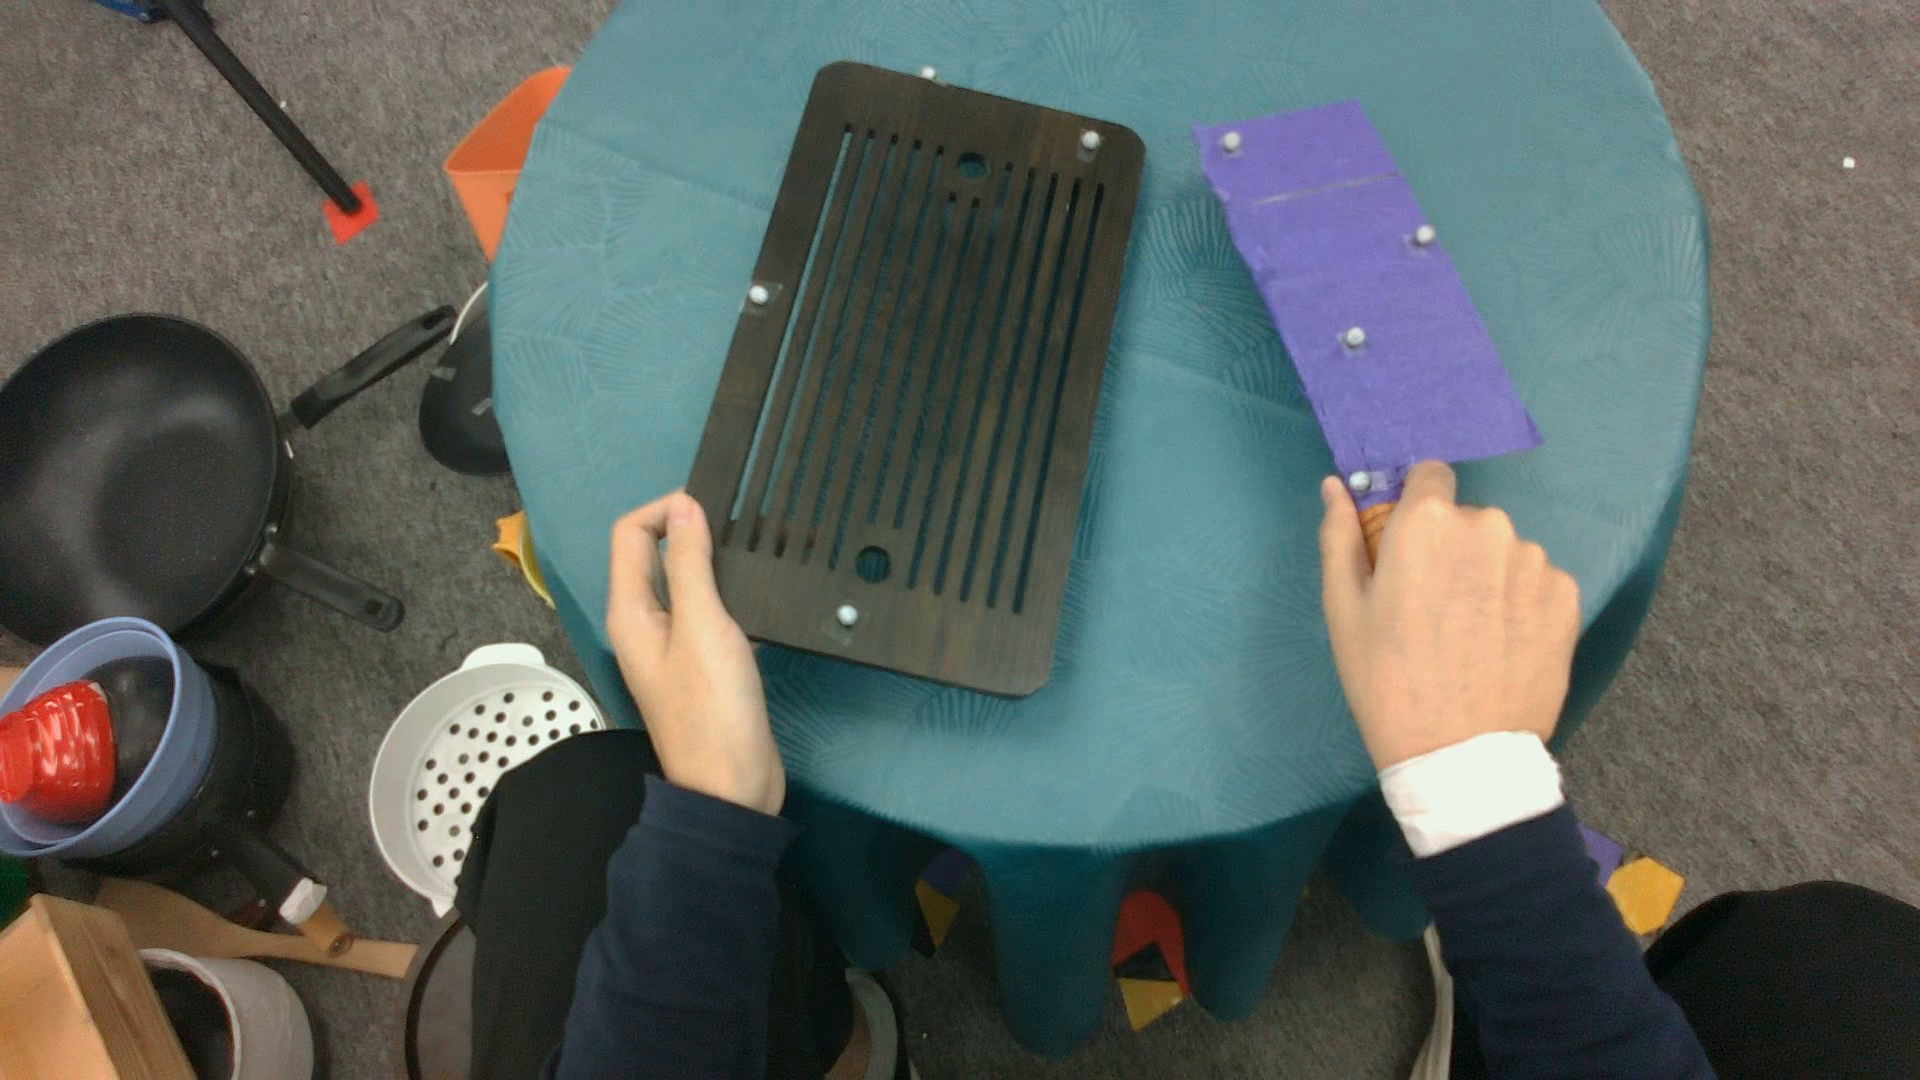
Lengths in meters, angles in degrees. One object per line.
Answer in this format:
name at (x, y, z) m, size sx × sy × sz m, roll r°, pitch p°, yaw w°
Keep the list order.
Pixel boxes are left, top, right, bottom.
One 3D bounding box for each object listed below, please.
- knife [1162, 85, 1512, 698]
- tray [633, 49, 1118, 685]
knife at (0.183, -0.086, 0.603) m, size 0.104 × 0.032 × 0.316 m, roll -11°, pitch 63°, yaw -8°
tray at (-0.029, -0.091, 0.638) m, size 0.170 × 0.018 × 0.307 m, roll 13°, pitch 67°, yaw -2°
